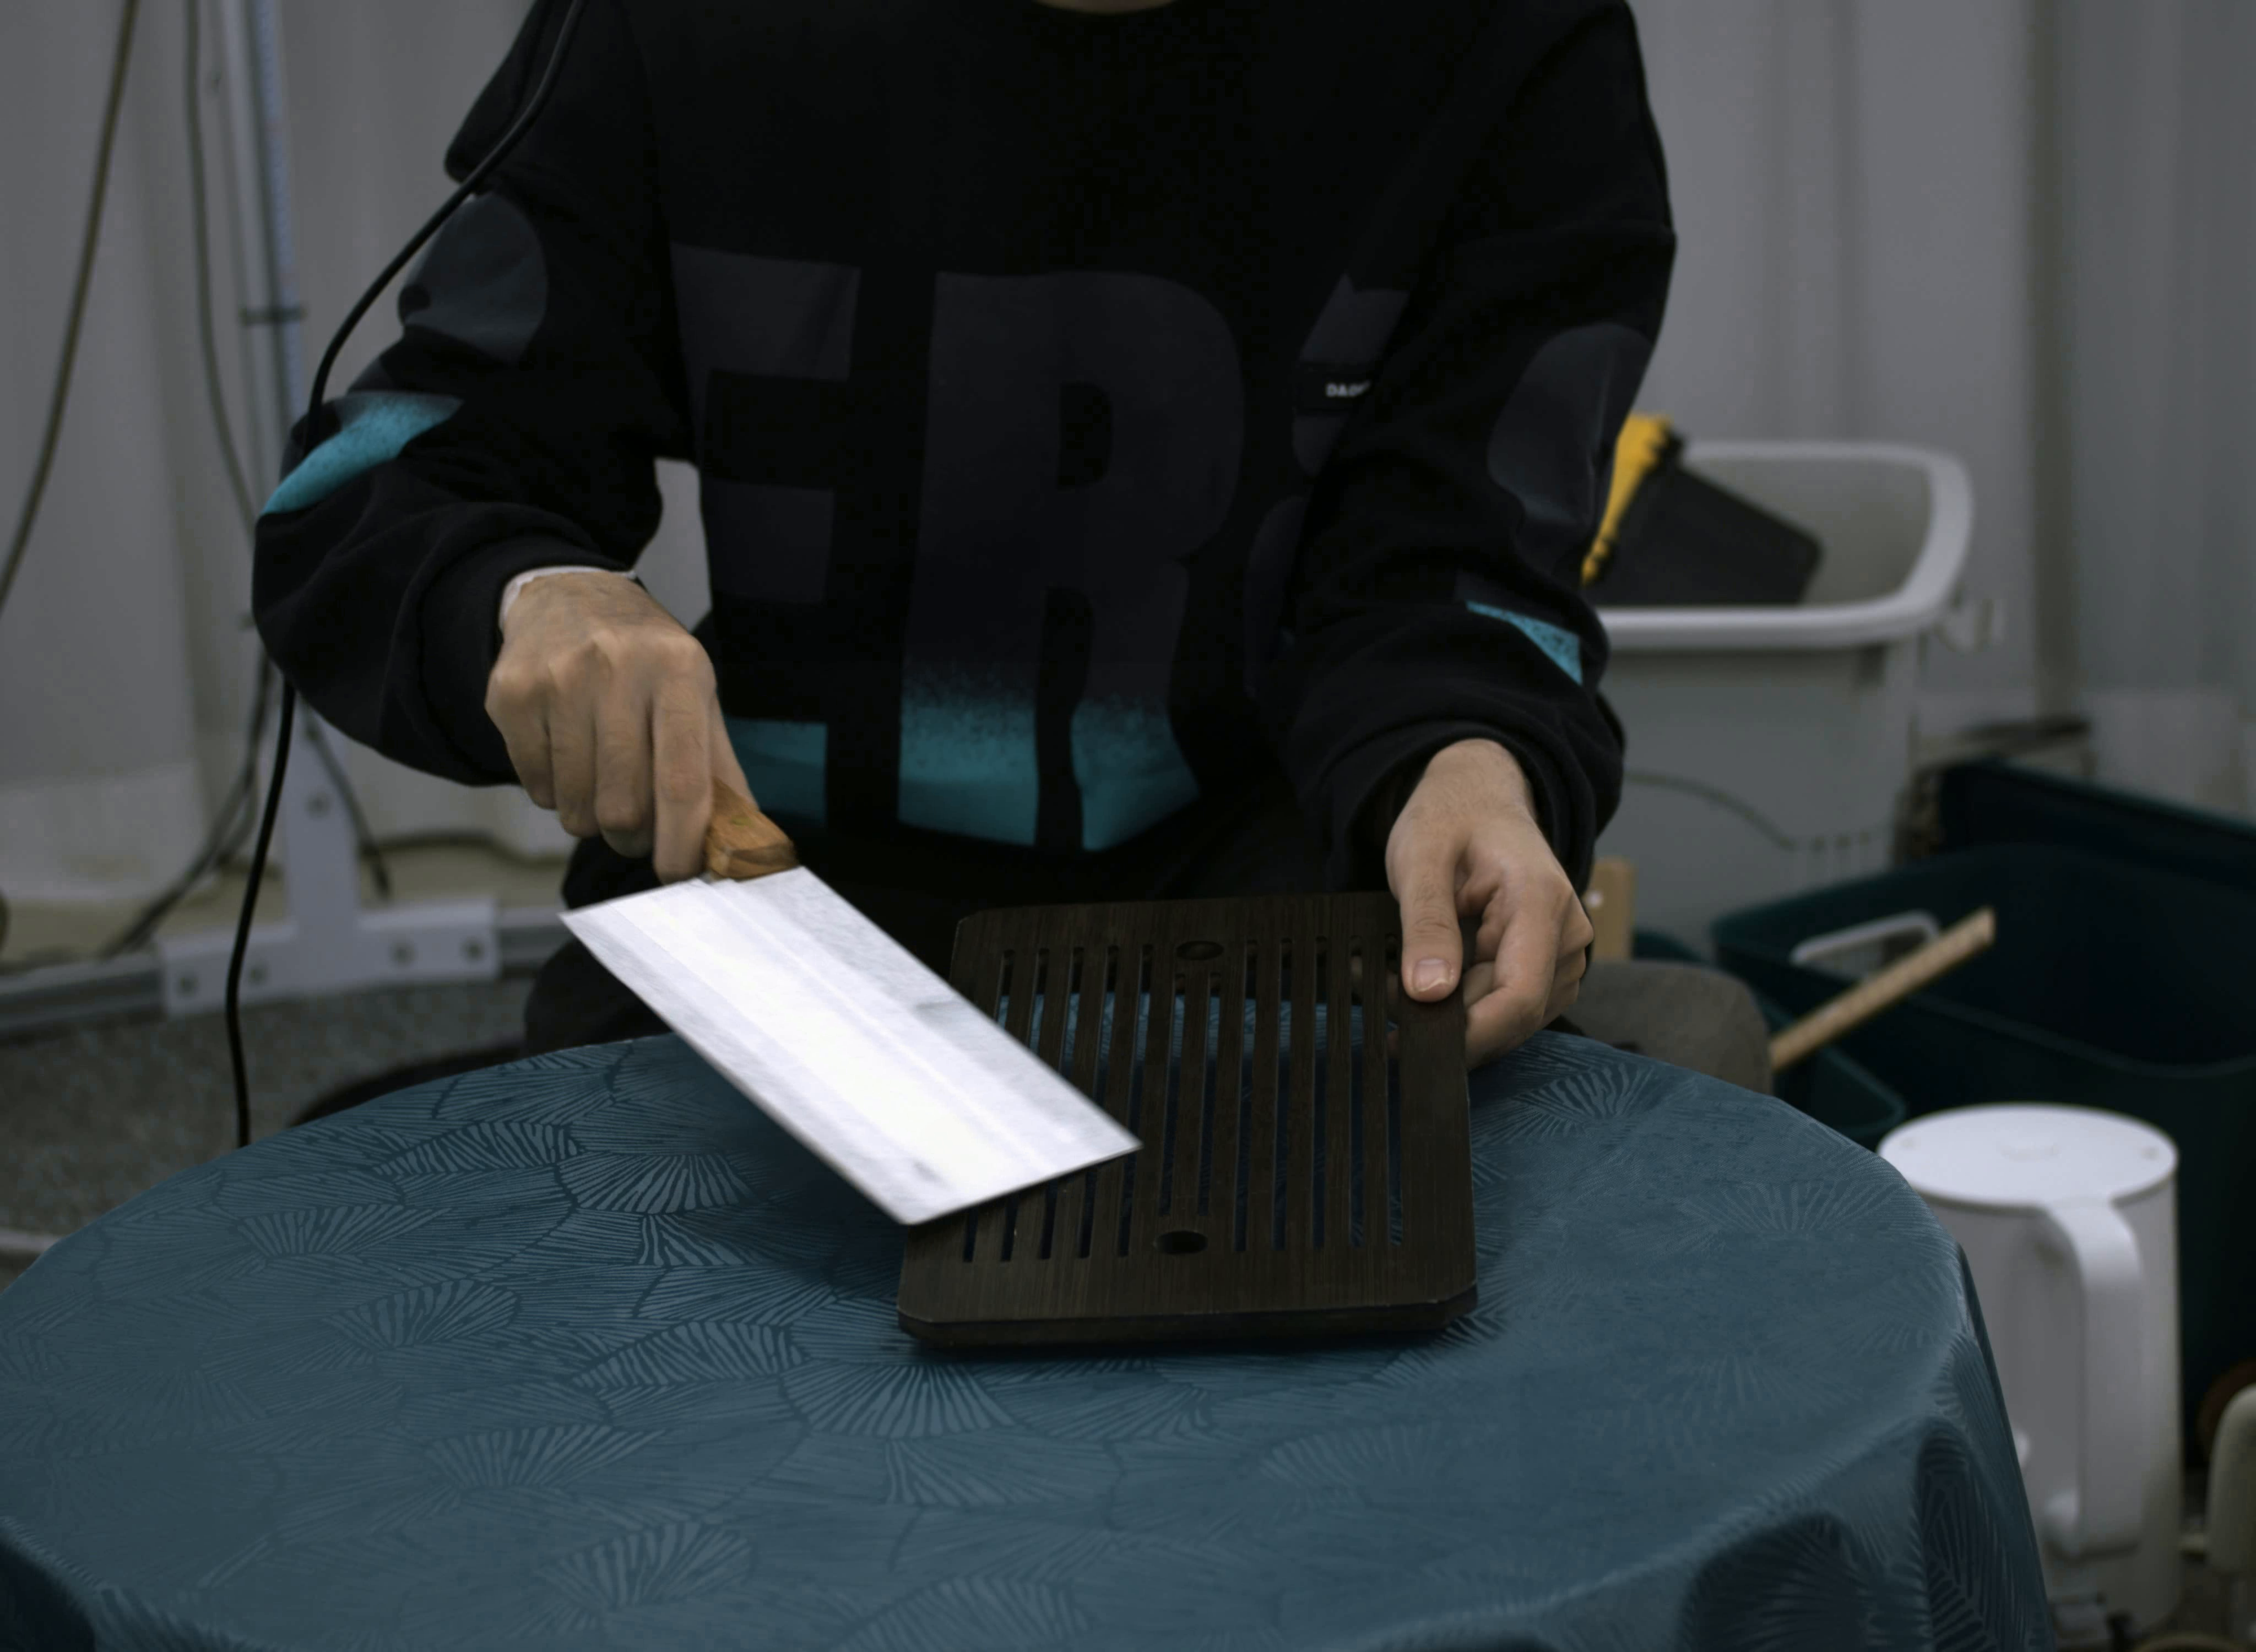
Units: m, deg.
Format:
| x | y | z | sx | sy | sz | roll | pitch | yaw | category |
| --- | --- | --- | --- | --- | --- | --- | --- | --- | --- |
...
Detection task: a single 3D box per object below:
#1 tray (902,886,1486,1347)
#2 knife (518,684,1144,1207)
| x | y | z | sx | sy | sz | roll | pitch | yaw | category |
| --- | --- | --- | --- | --- | --- | --- | --- | --- | --- |
| 0.025 | 0.088 | 1.709 | 0.169 | 0.018 | 0.309 | -3 | 22 | 4 | tray |
| -0.119 | 0.037 | 1.742 | 0.093 | 0.021 | 0.309 | -17 | 38 | -35 | knife |
